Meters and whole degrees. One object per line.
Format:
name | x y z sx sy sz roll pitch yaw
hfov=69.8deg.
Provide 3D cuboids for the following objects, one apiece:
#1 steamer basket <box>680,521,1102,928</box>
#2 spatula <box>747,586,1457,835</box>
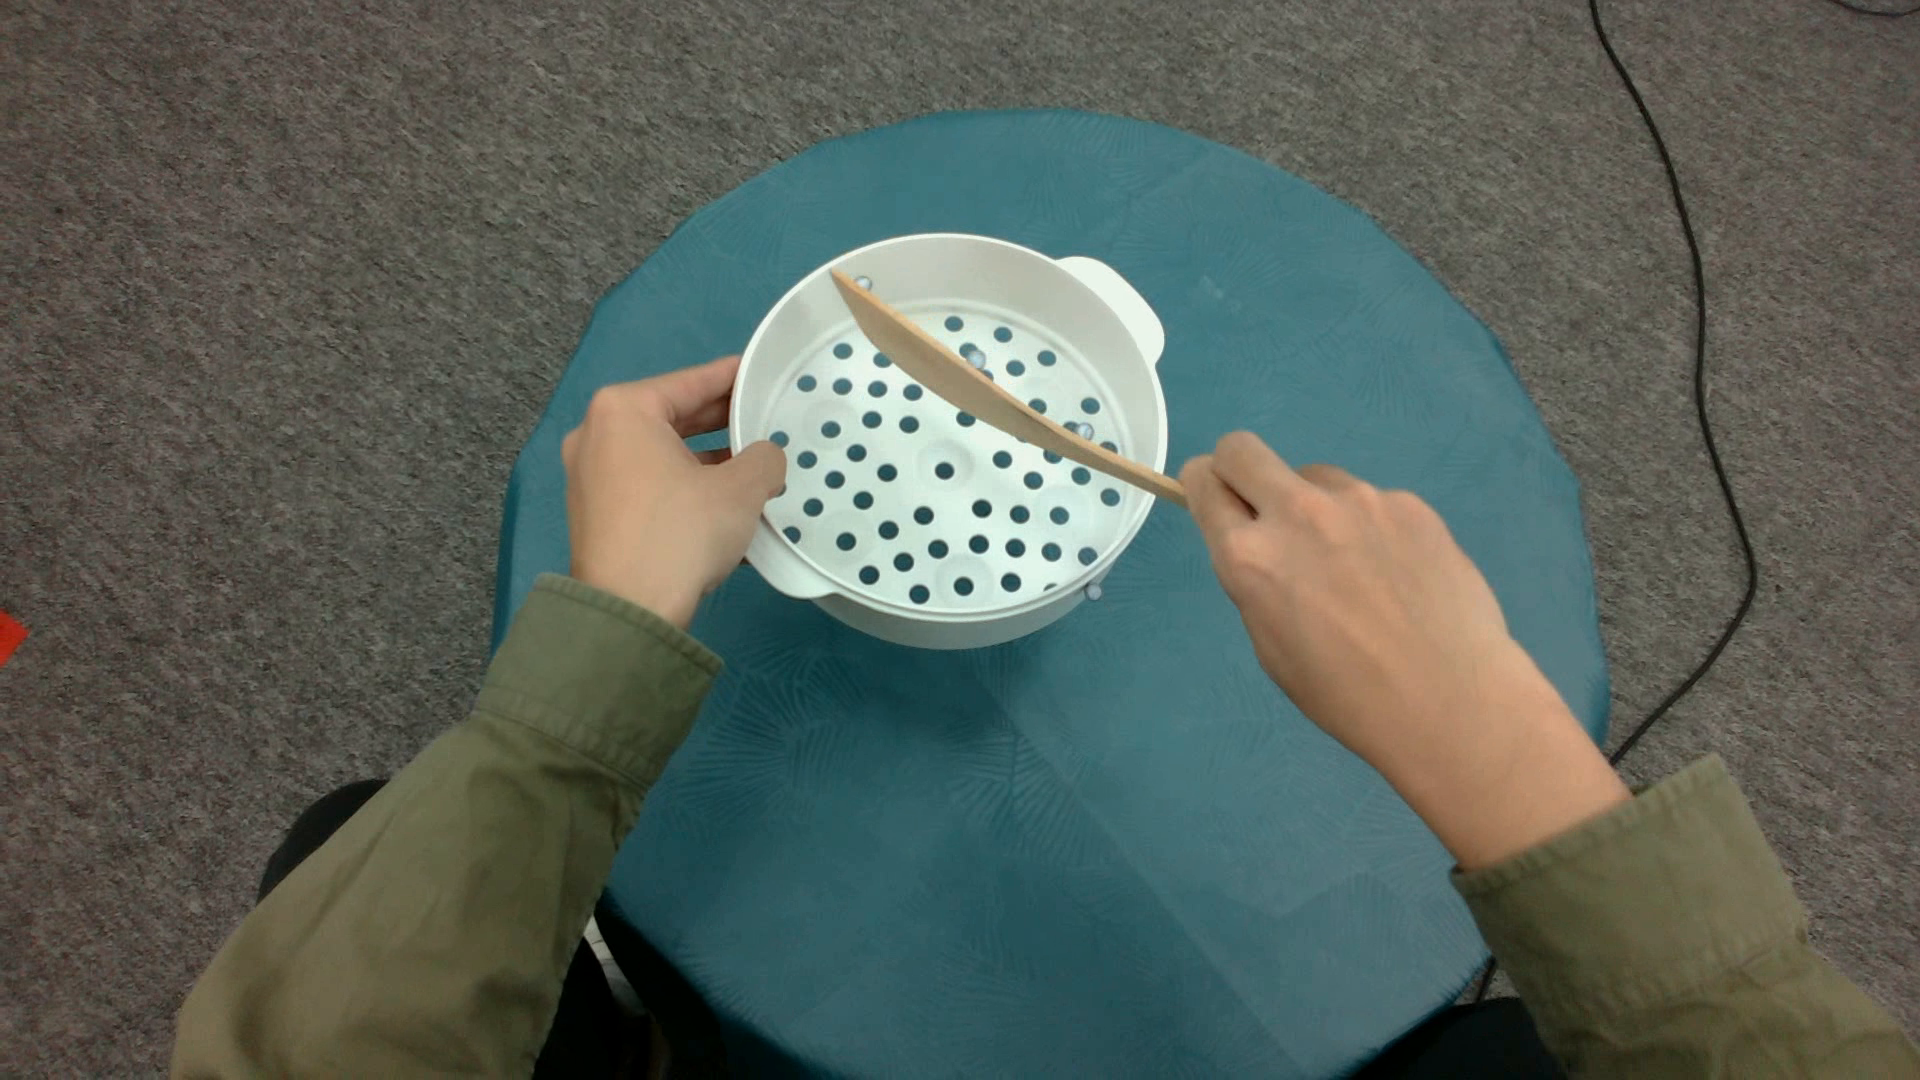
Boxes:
steamer basket | -0.032 0.089 0.680 0.202 0.069 0.231 36 64 23
spatula | 0.042 0.070 0.582 0.327 0.080 0.016 12 67 28
